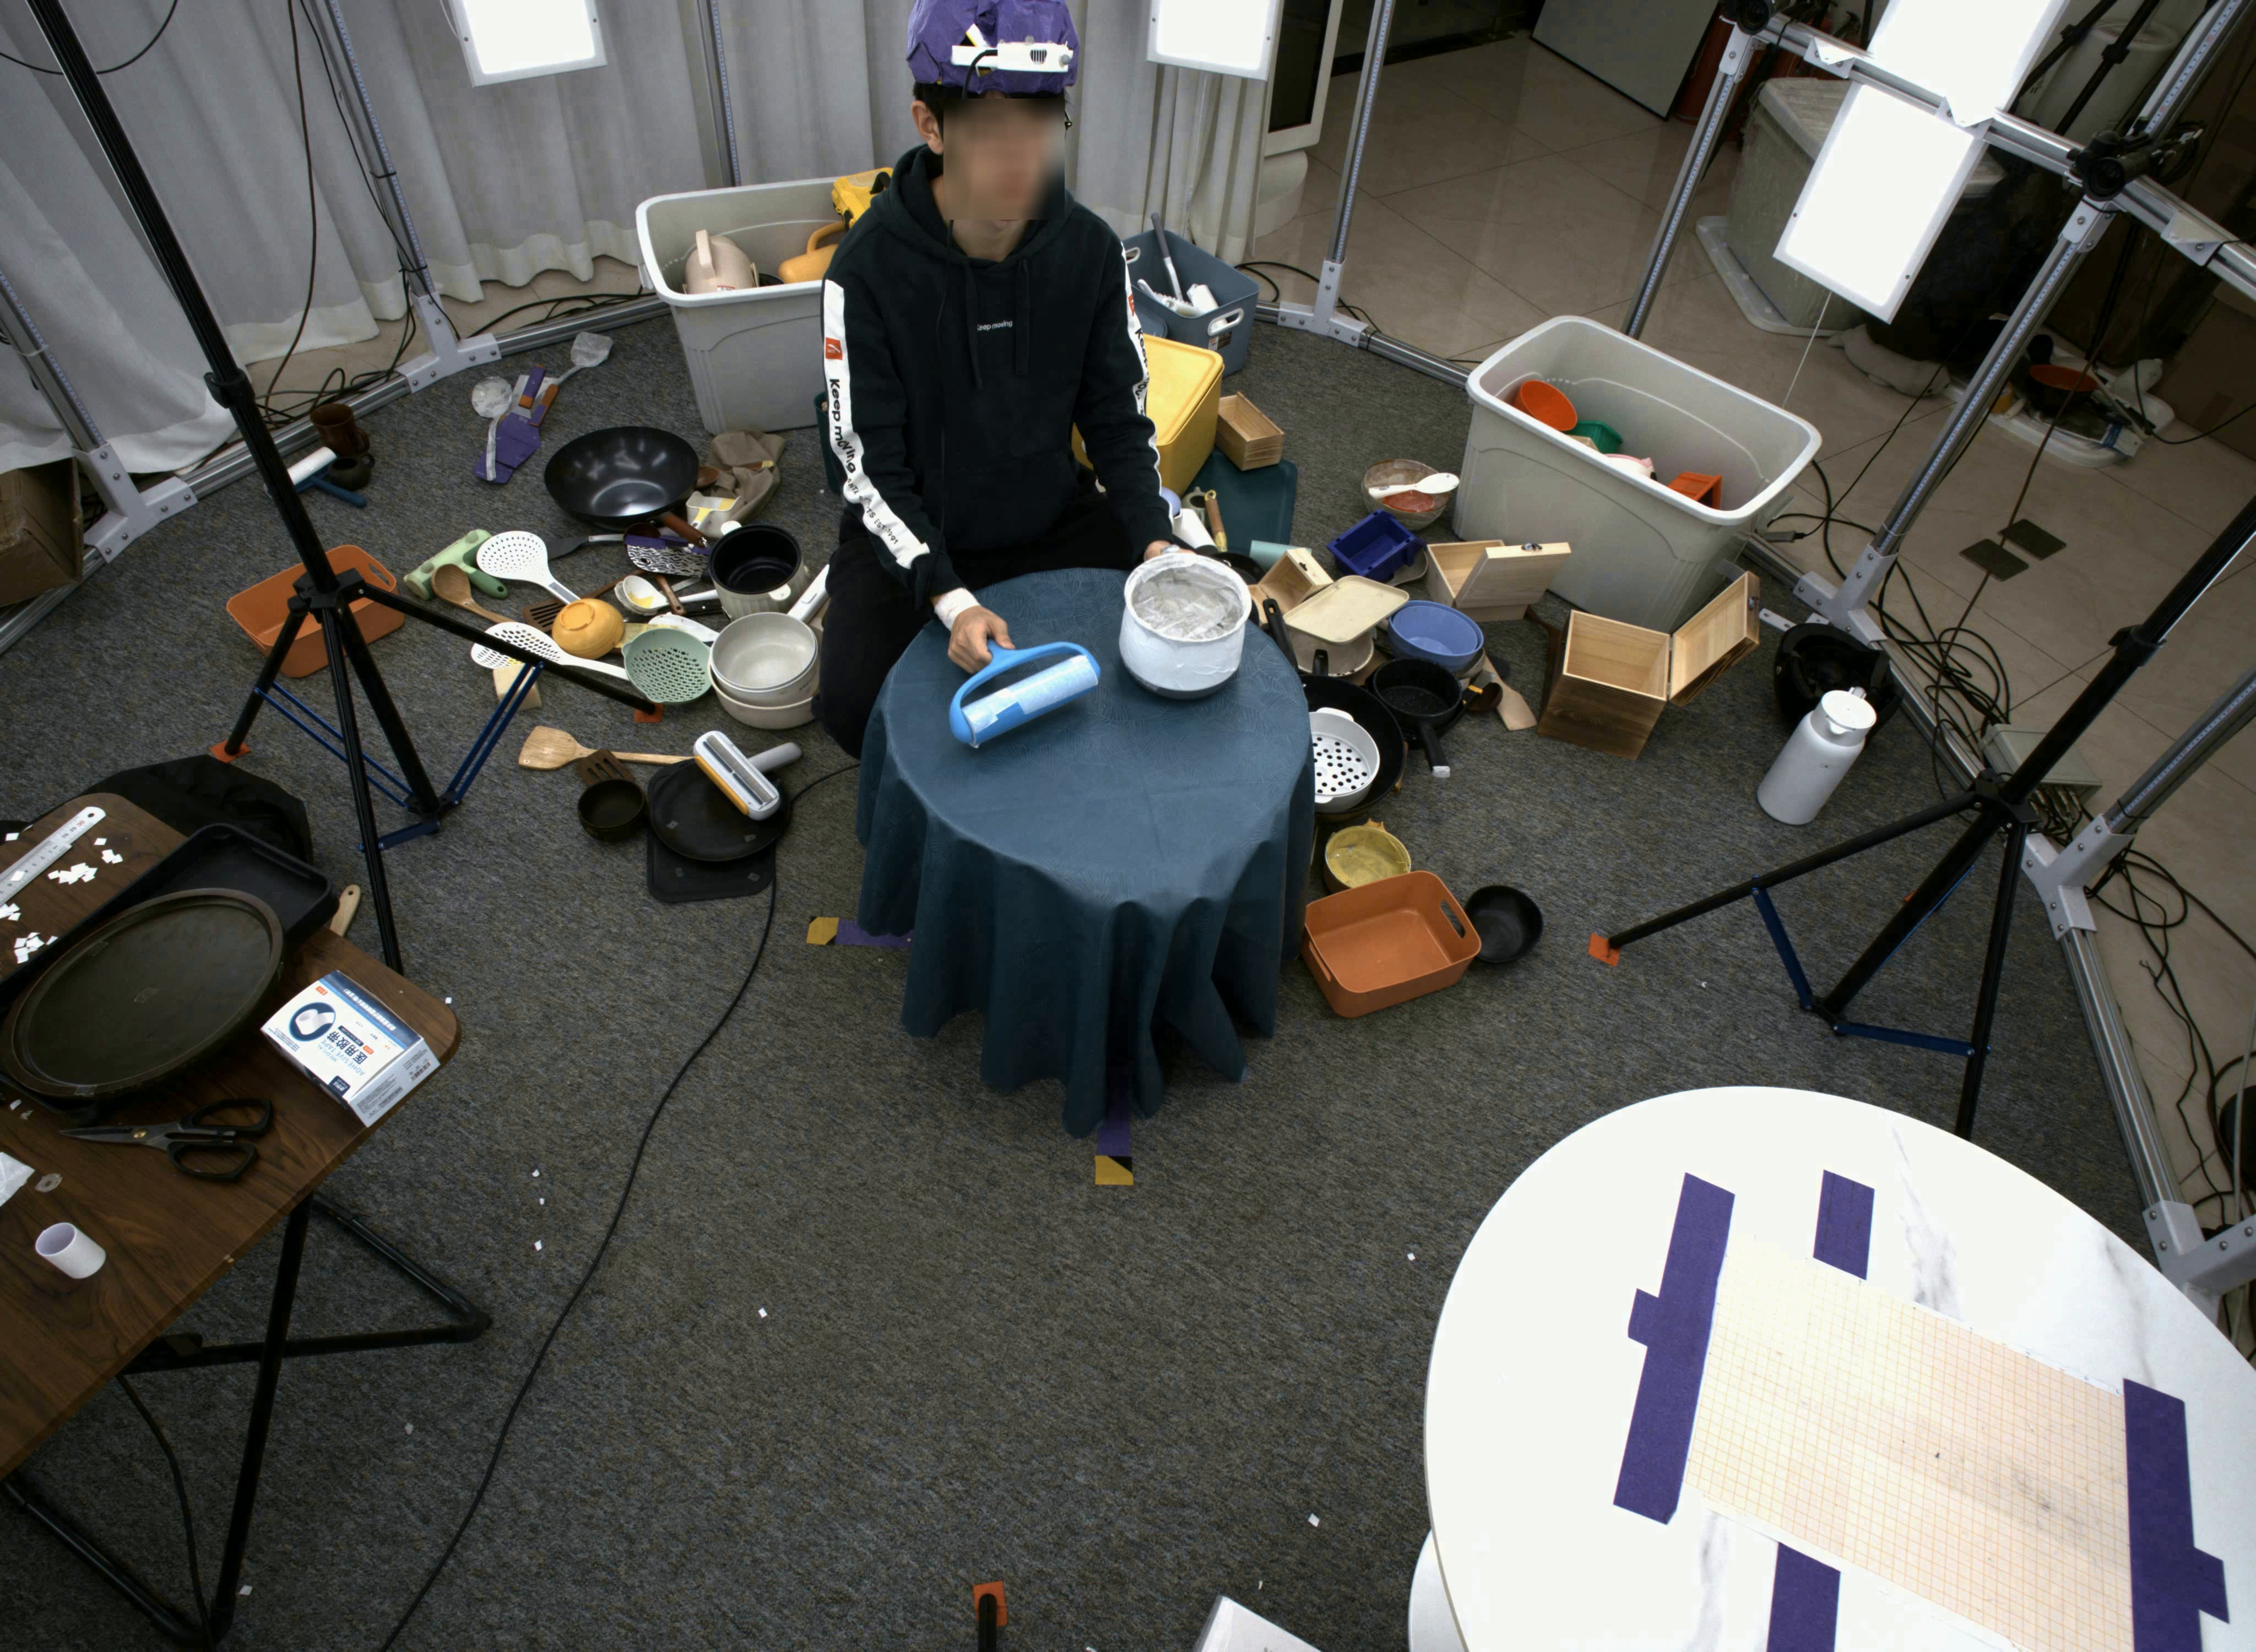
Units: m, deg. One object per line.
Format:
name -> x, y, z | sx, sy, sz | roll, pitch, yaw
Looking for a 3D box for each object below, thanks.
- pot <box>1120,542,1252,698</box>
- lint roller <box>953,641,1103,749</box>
pot -> 0.073, -0.303, 1.835 | 0.178, 0.133, 0.239 | -6, 54, -10
lint roller -> -0.168, -0.210, 1.769 | 0.230, 0.066, 0.183 | -32, 60, -22
